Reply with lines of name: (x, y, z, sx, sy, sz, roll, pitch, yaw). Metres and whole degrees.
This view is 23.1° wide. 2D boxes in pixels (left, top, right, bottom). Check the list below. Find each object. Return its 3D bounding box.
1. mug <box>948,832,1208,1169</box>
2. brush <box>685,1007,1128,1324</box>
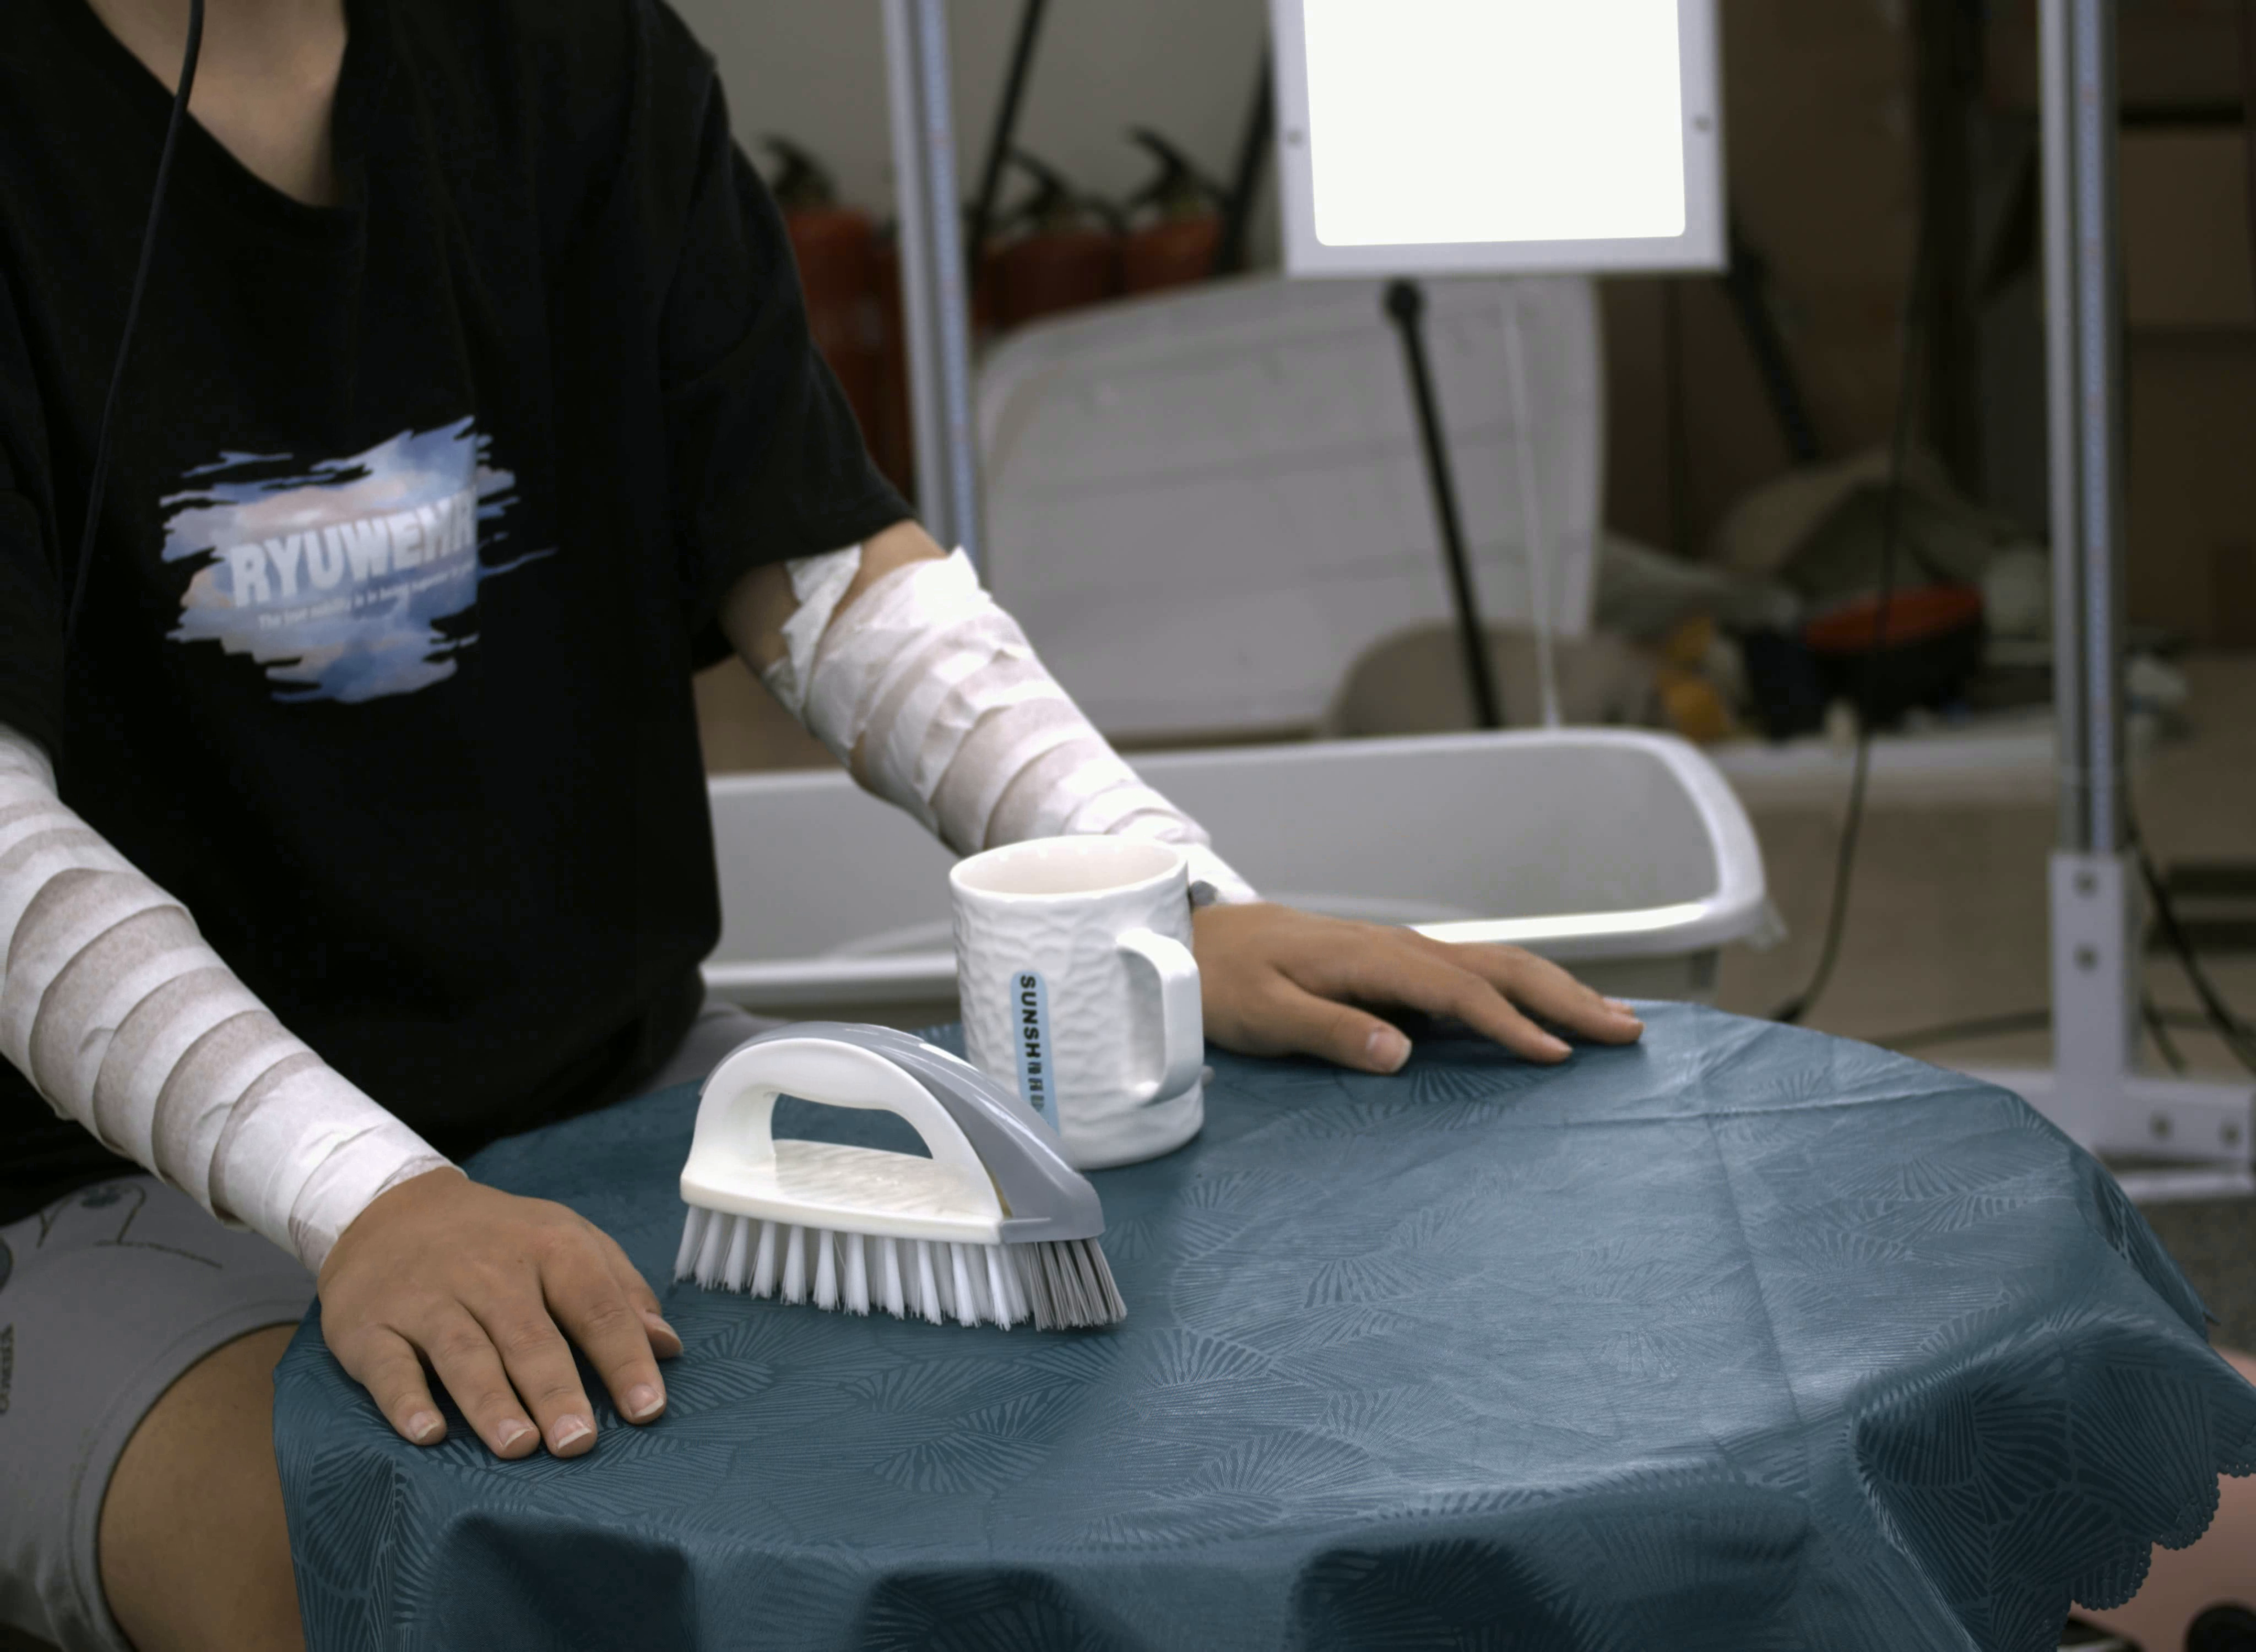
mug: (-0.009, 0.065, 1.938, 0.083, 0.102, 0.120, -13, 17, -30)
brush: (-0.073, 0.108, 1.805, 0.179, 0.094, 0.060, 9, 24, 40)
